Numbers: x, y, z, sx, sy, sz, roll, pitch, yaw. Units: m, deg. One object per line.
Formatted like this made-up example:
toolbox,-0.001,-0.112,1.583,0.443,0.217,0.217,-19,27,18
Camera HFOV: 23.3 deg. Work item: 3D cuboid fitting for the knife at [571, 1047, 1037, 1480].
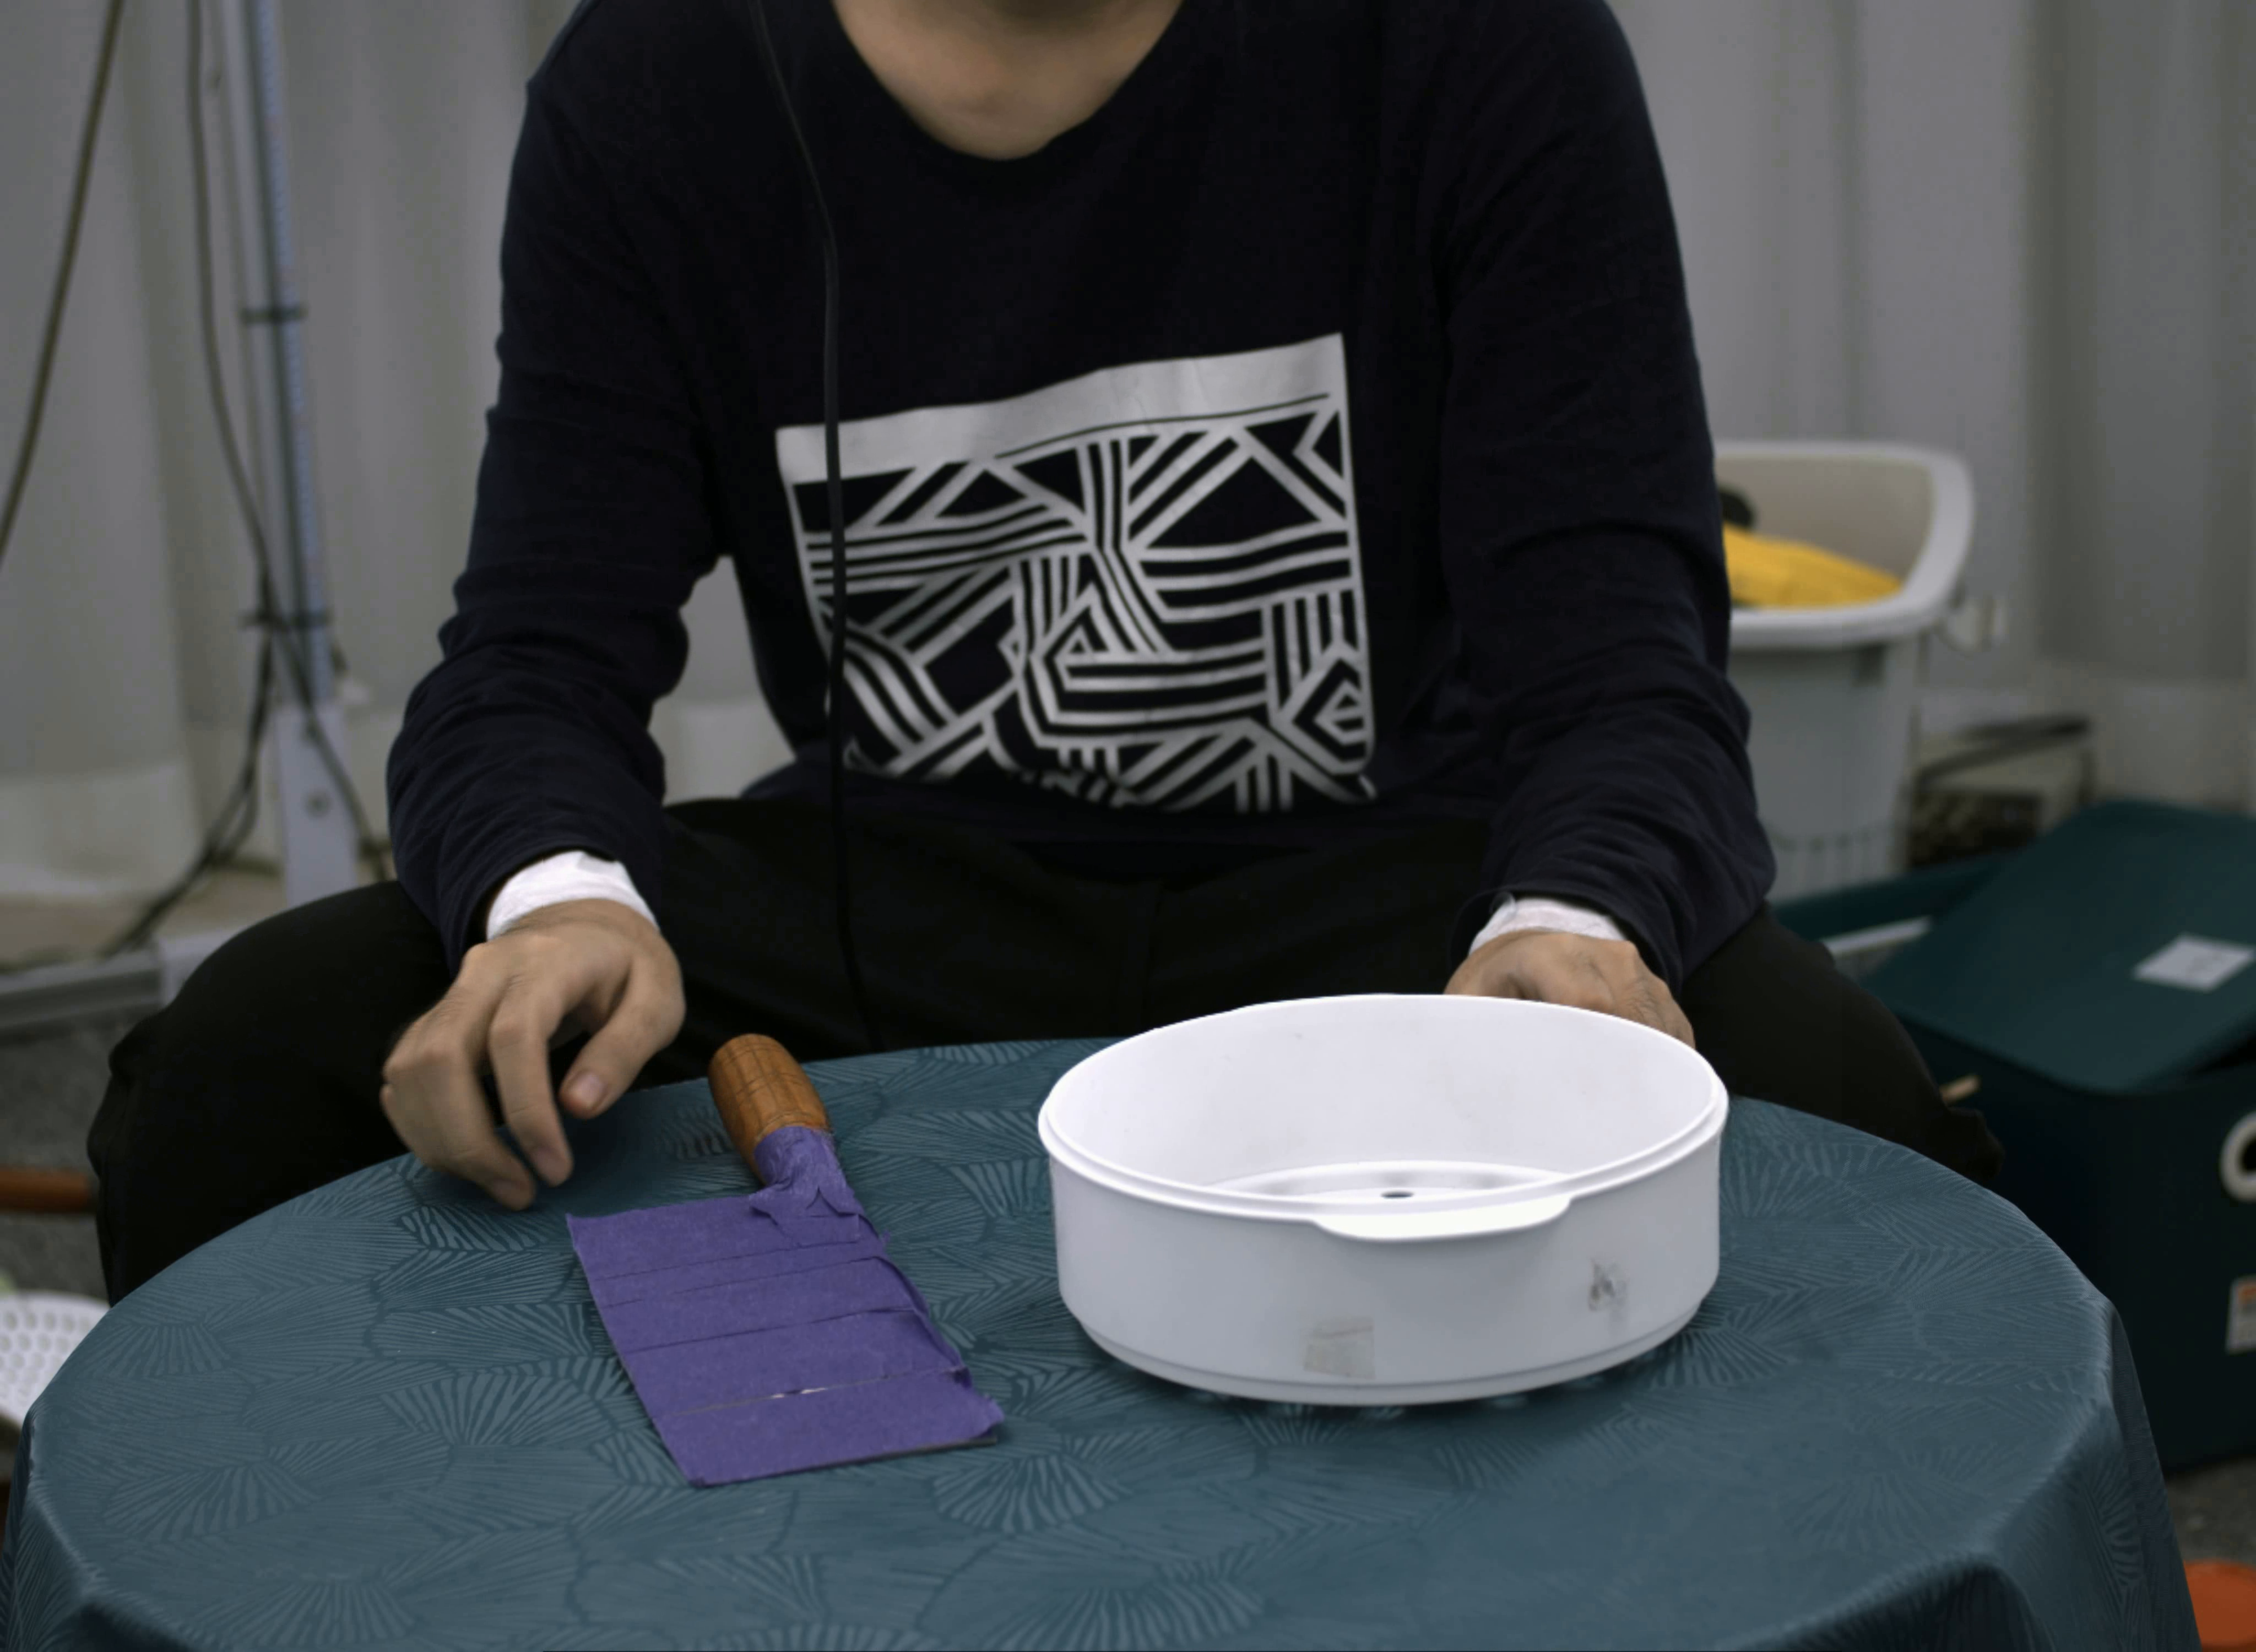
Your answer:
knife,-0.115,0.127,1.641,0.103,0.032,0.318,-6,15,-14

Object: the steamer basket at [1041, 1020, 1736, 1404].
steamer basket,0.076,0.112,1.589,0.201,0.069,0.232,-3,12,-6
